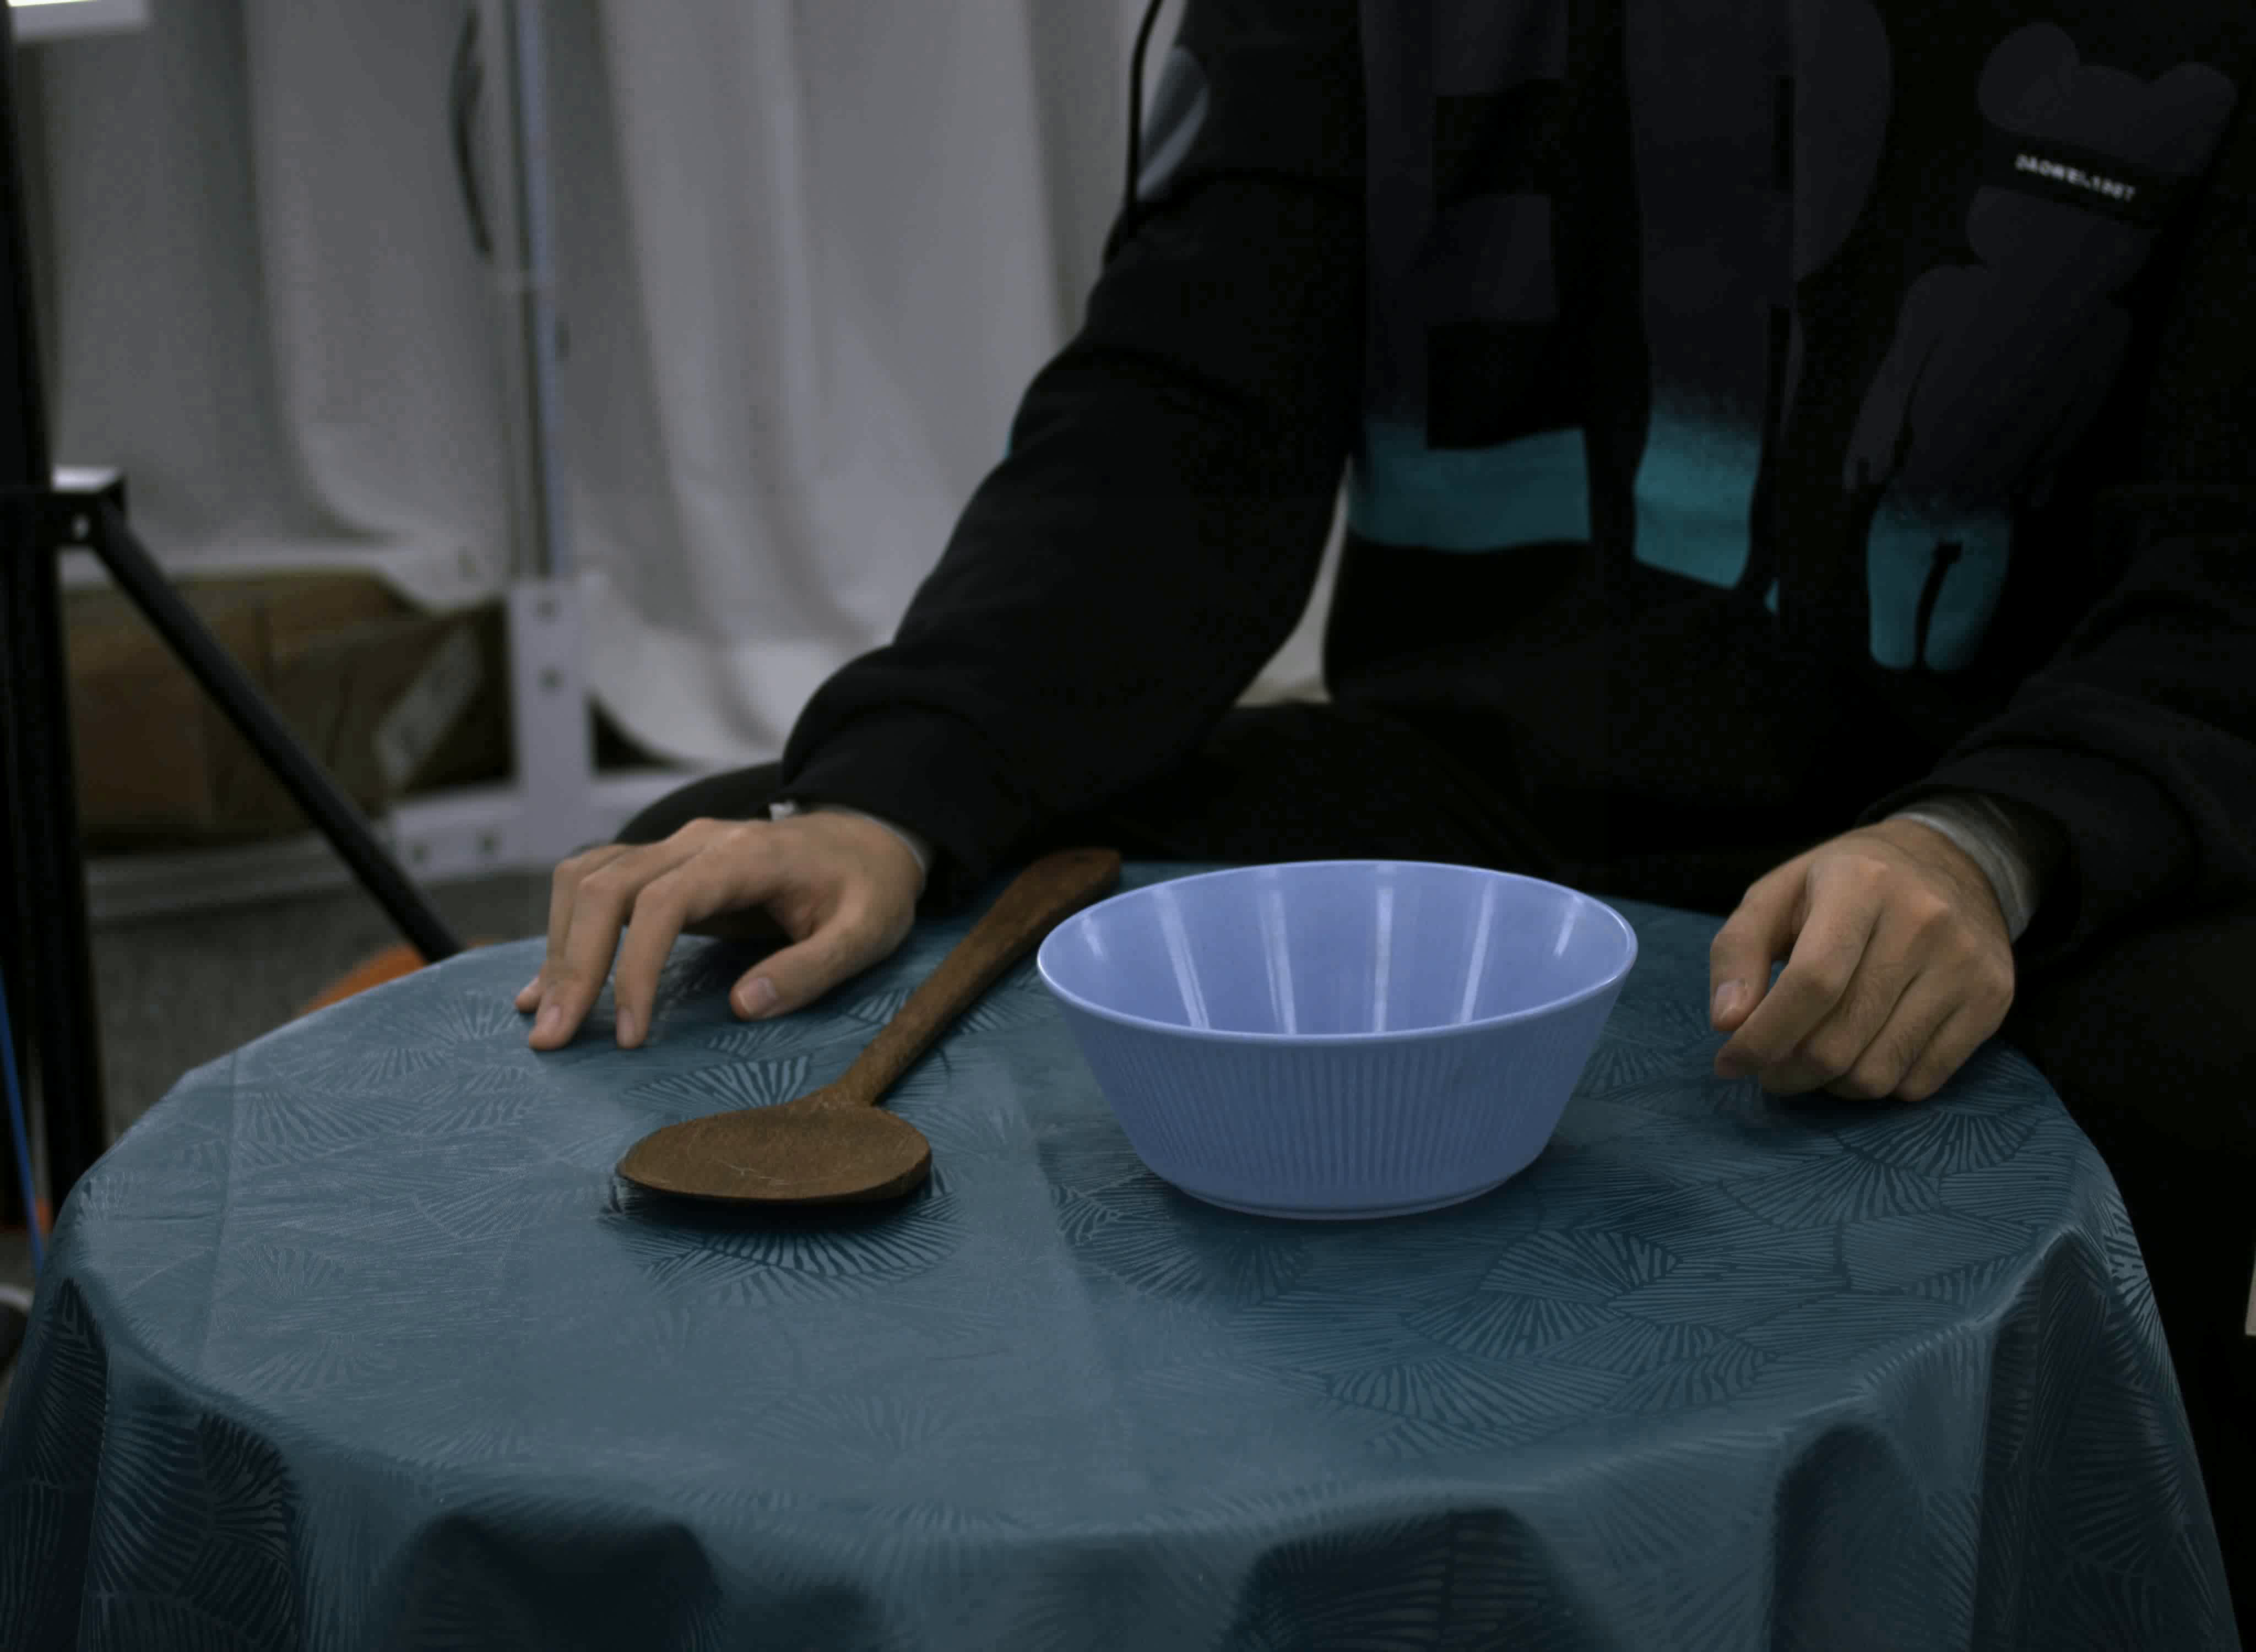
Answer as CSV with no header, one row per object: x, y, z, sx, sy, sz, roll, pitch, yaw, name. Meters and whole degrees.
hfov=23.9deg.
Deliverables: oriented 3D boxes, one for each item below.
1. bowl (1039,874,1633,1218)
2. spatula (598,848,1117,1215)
0.062,0.067,1.566,0.175,0.070,0.177,-2,14,-1,bowl
-0.065,0.060,1.713,0.097,0.016,0.382,2,16,16,spatula
